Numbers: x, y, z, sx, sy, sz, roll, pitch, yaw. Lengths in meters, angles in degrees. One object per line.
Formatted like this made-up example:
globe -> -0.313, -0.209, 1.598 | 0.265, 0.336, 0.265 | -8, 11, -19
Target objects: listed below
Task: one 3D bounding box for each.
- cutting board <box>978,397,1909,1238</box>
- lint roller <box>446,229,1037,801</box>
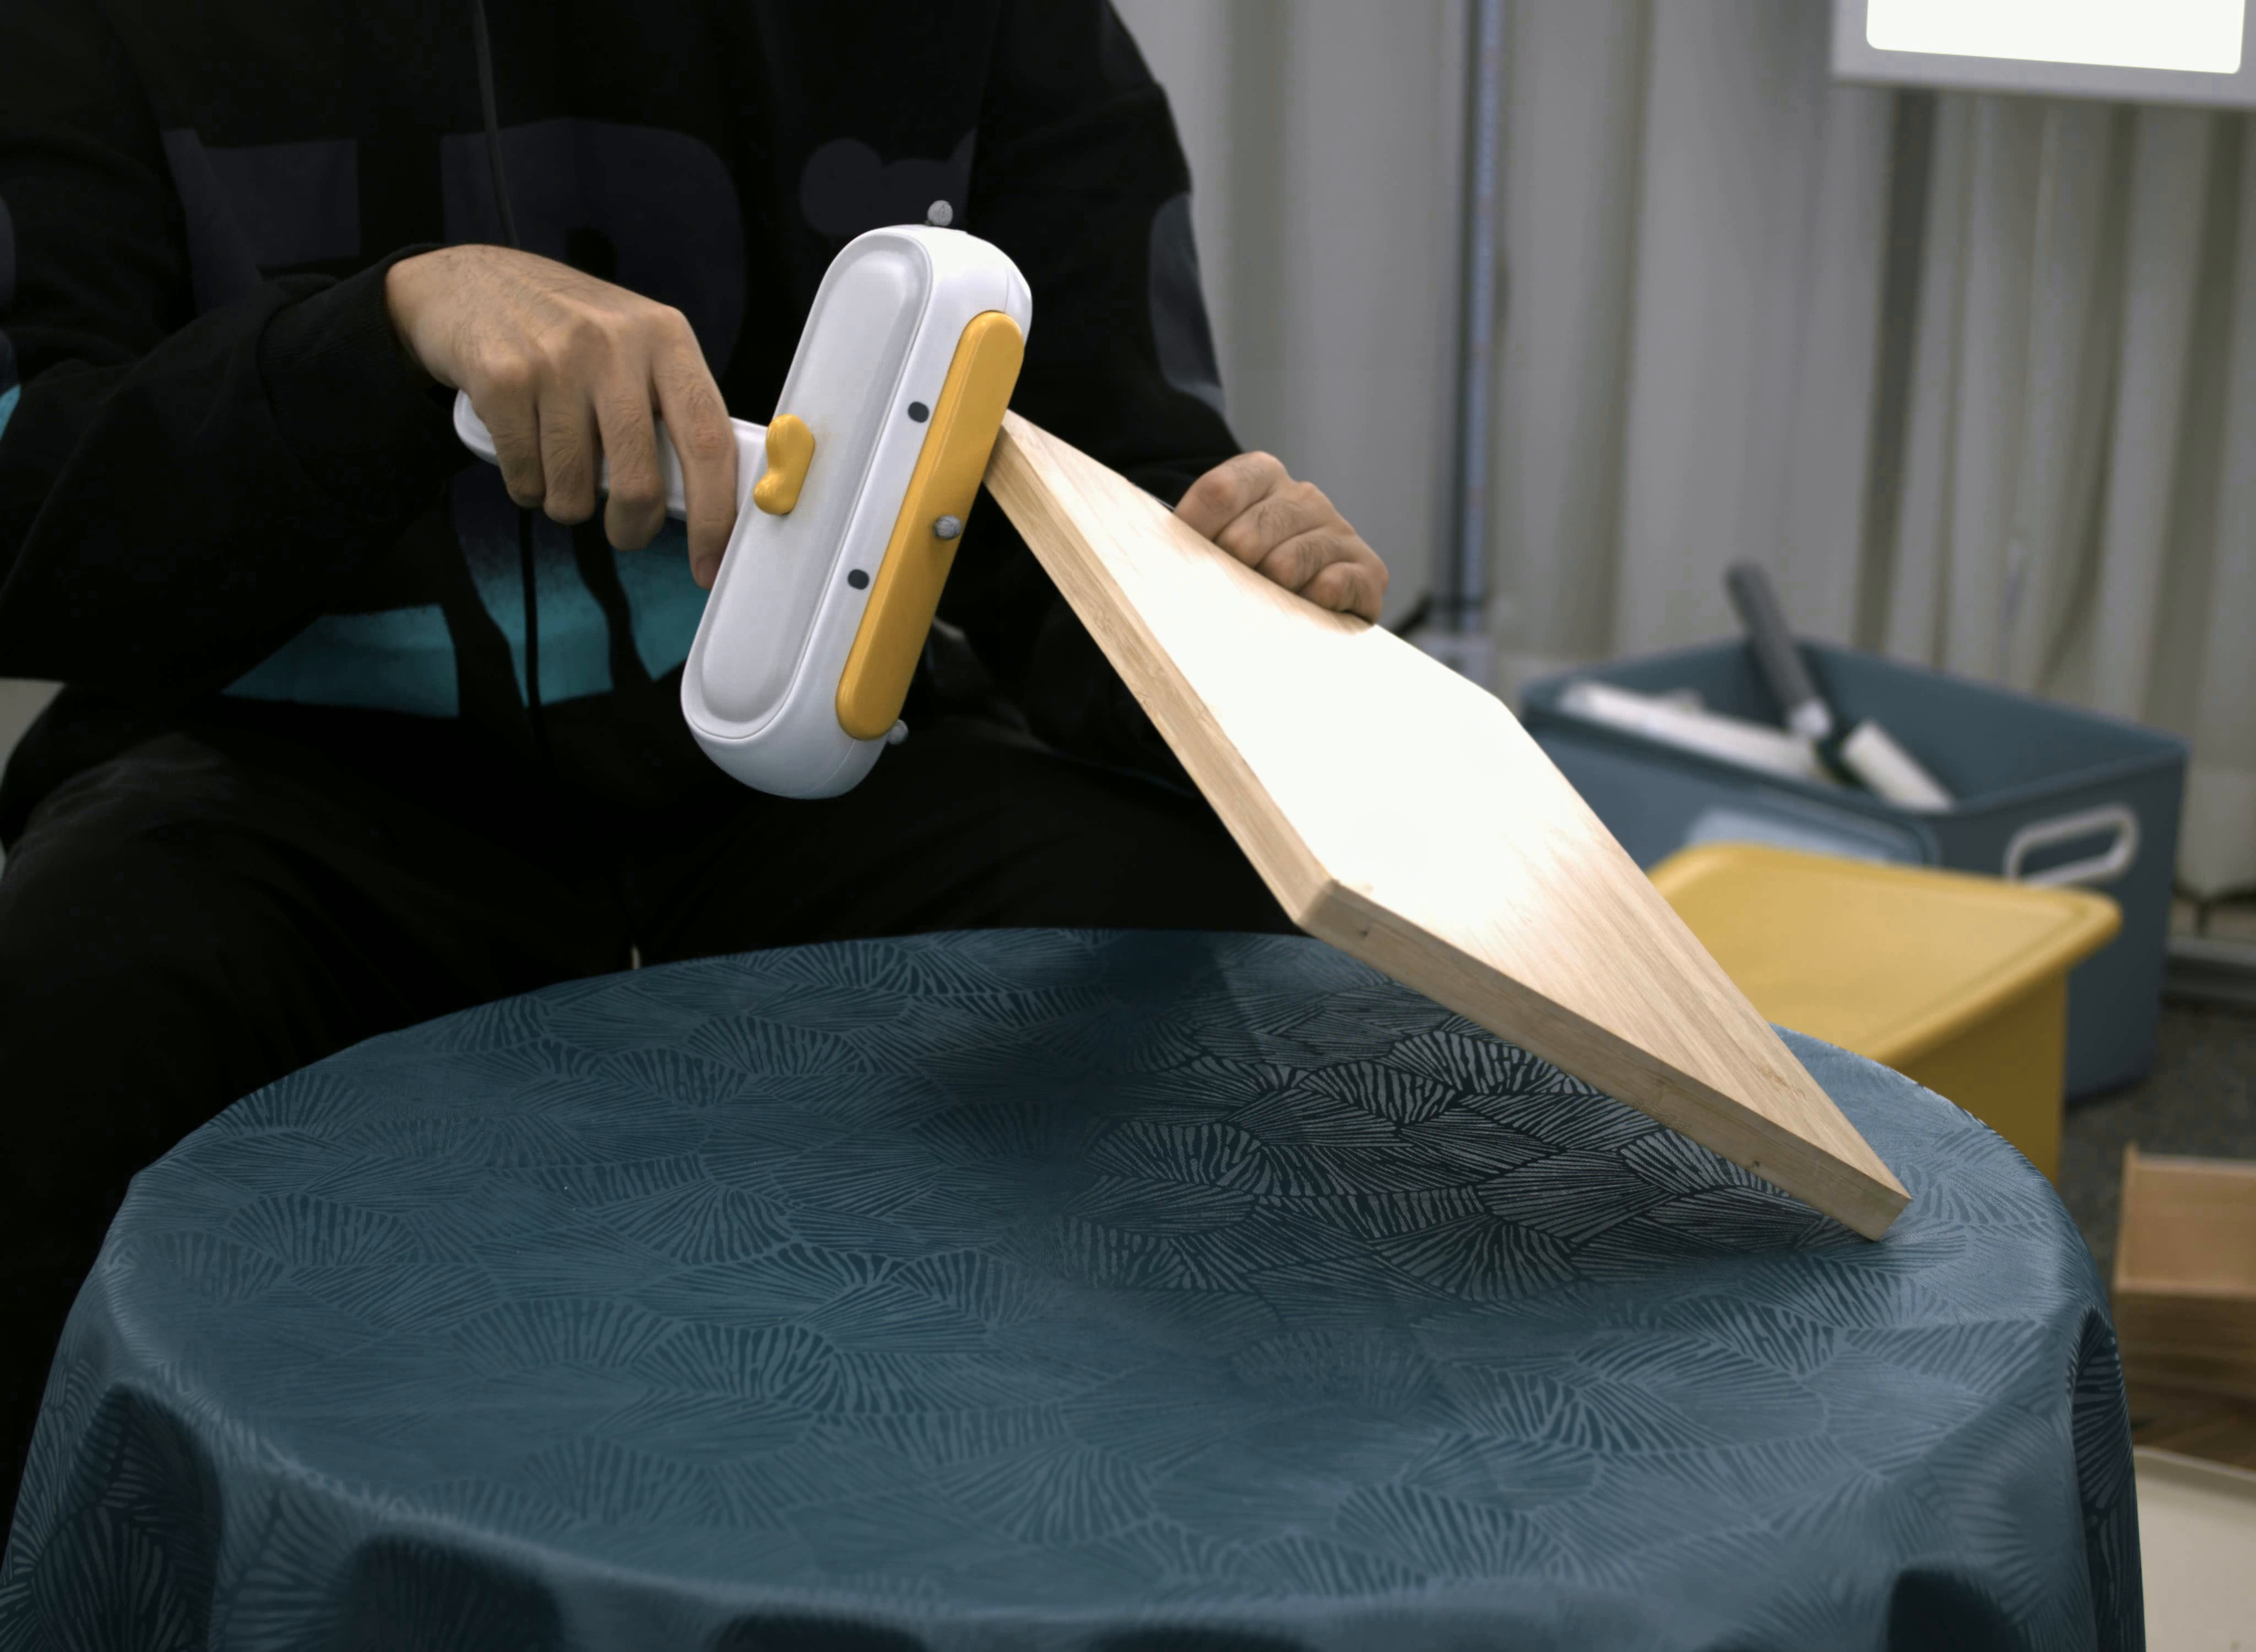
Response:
cutting board -> 0.086, -0.010, 1.660 | 0.253, 0.023, 0.344 | 29, 15, -32
lint roller -> -0.133, -0.105, 1.712 | 0.190, 0.192, 0.075 | 2, -17, 33
